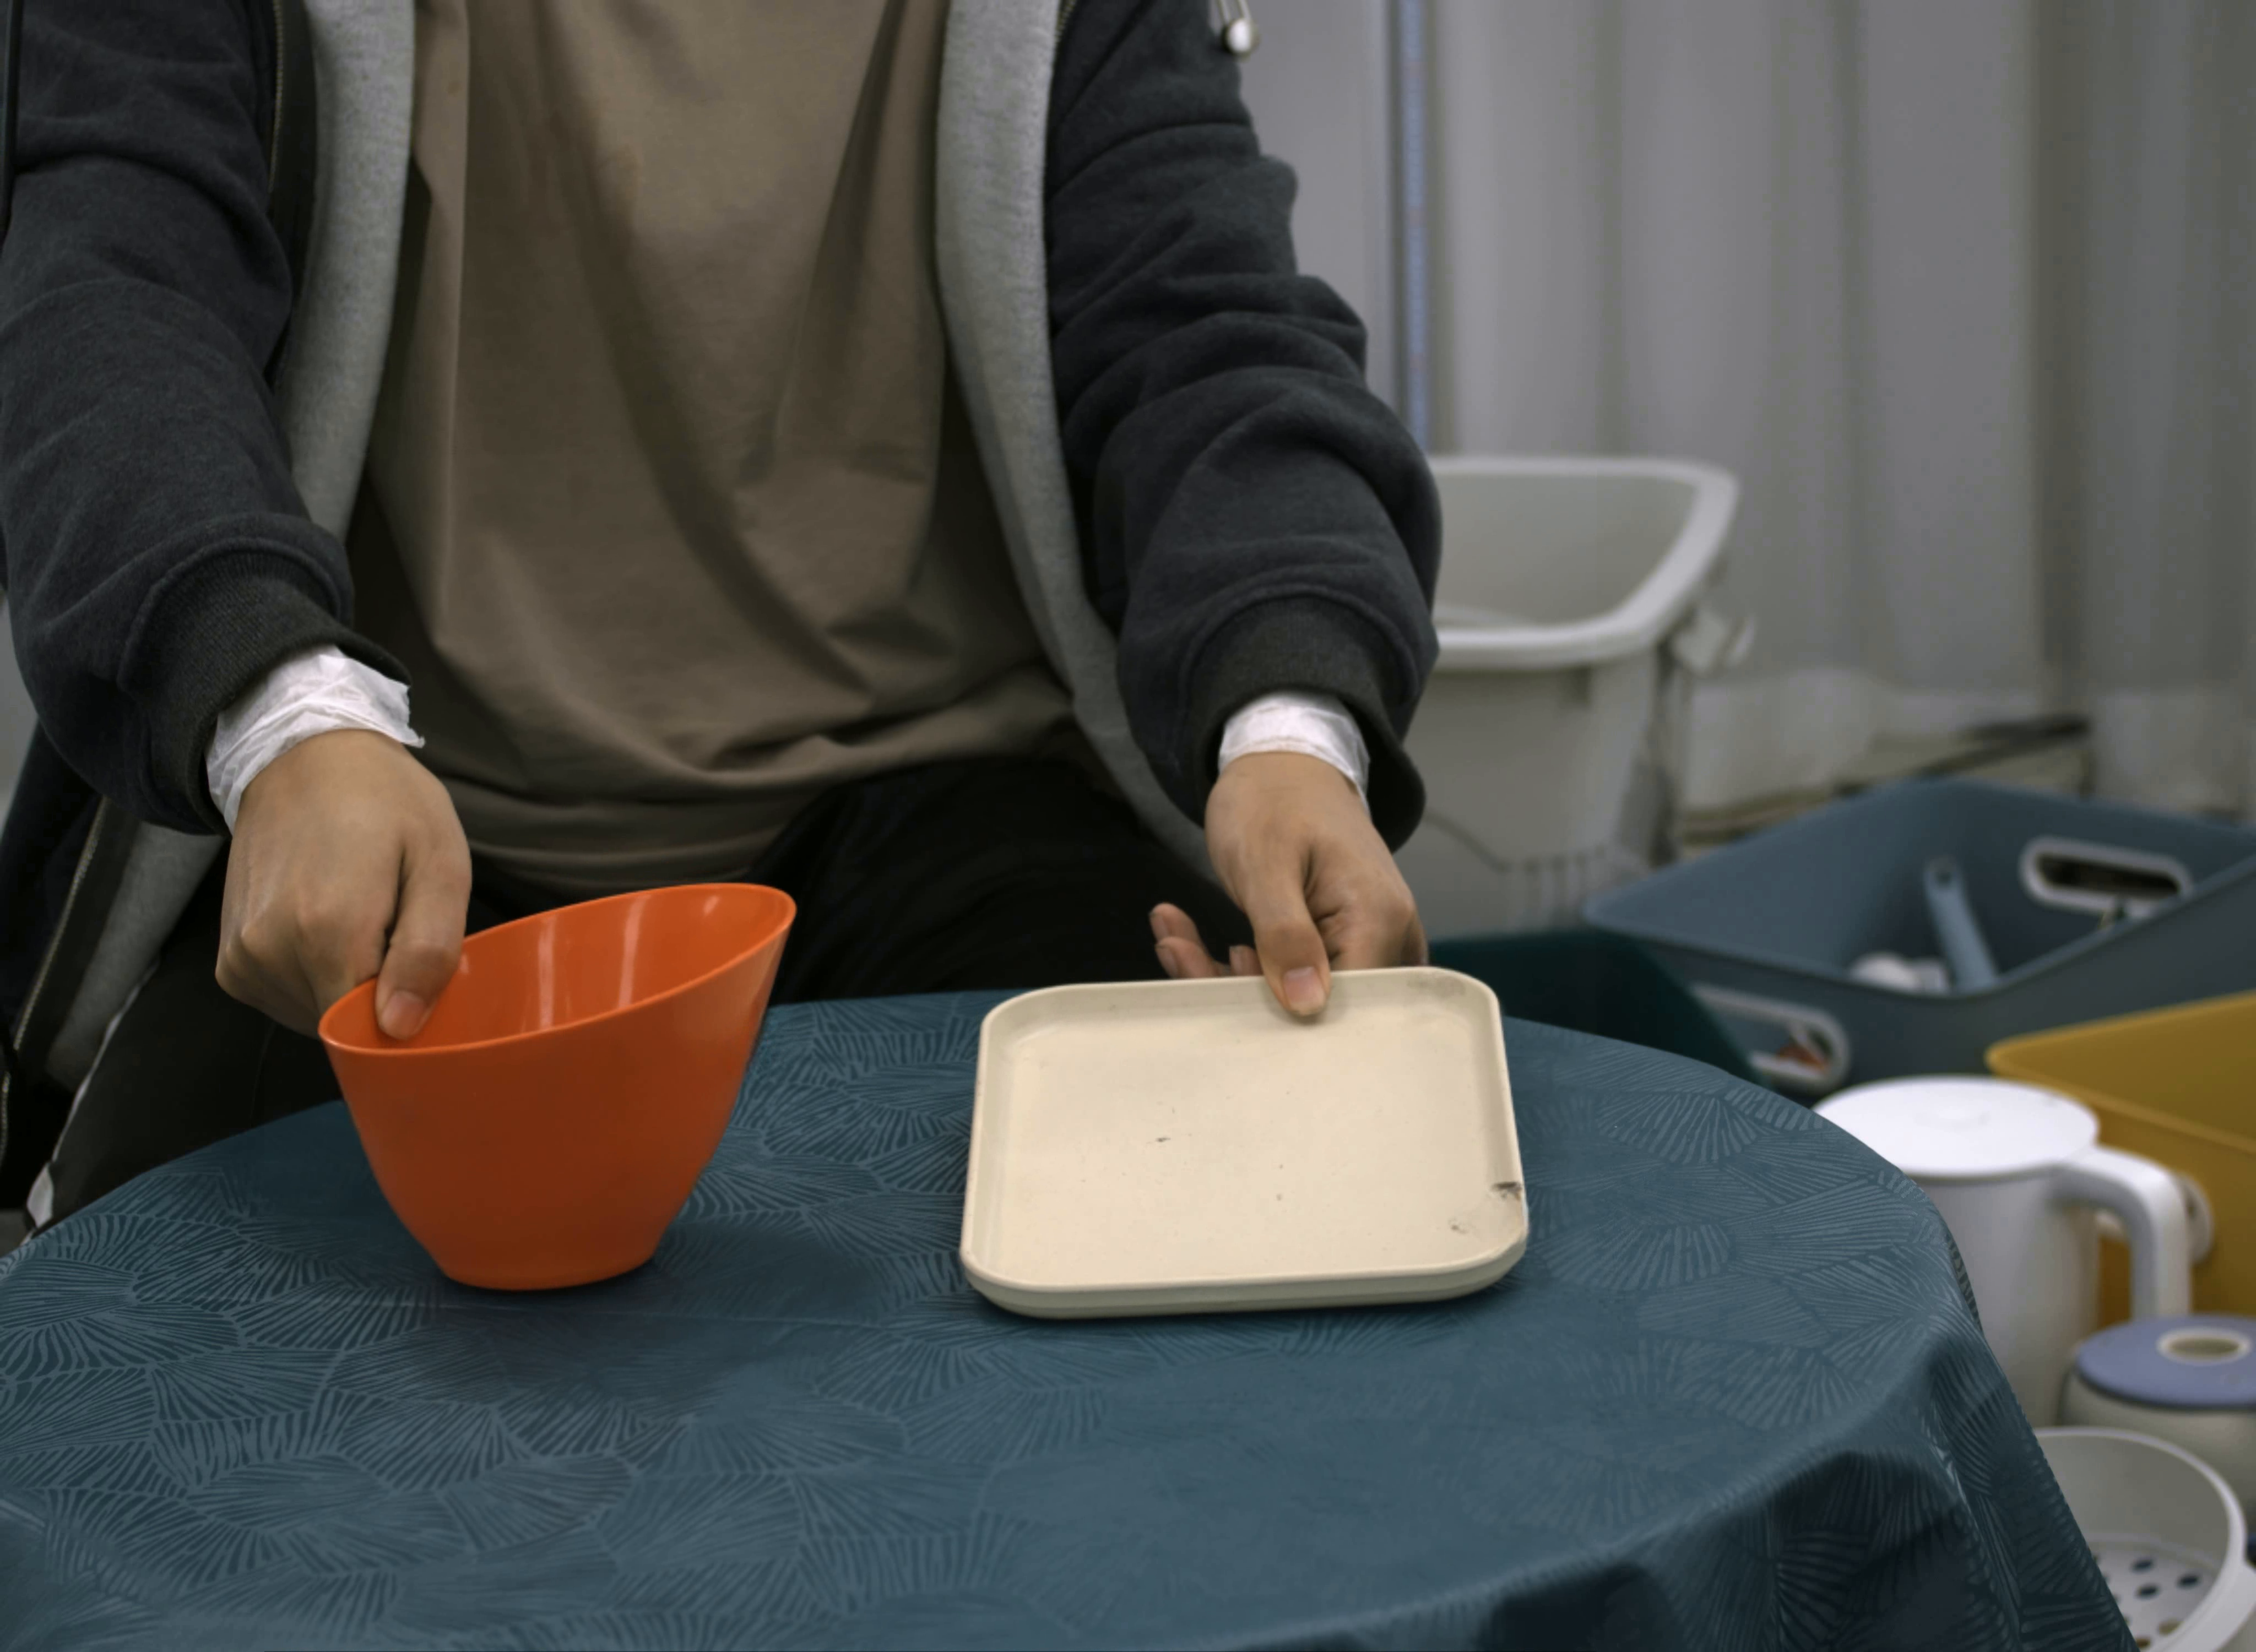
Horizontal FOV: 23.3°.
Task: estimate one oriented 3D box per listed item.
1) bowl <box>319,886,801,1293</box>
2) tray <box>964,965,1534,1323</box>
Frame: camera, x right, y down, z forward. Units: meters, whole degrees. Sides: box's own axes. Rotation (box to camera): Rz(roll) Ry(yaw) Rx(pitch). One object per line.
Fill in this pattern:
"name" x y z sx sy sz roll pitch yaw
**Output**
"bowl" -0.170 0.082 1.665 0.147 0.104 0.149 -3 14 0
"tray" 0.036 0.098 1.703 0.171 0.017 0.242 -4 20 2
